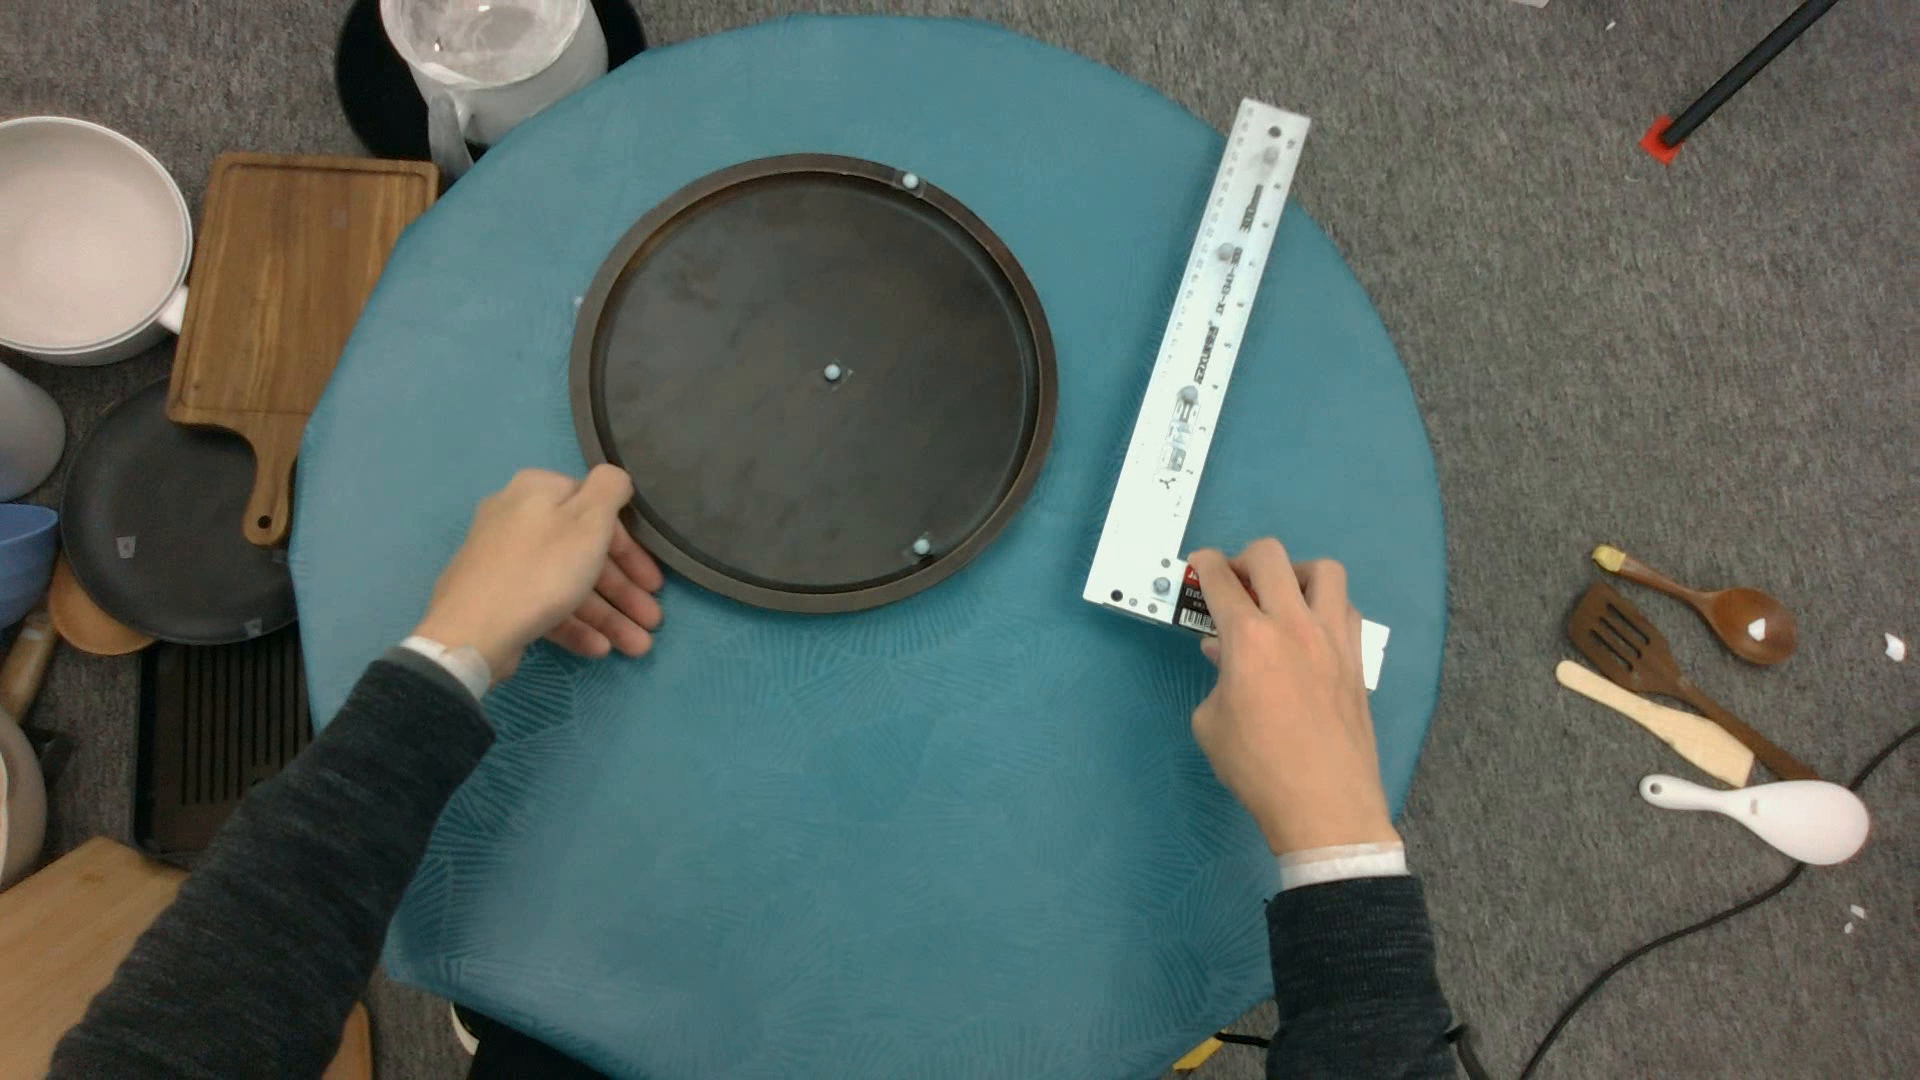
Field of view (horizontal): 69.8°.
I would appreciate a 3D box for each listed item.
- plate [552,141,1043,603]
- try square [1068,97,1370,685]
[{"bbox_3d":[-0.083,-0.090,0.722,0.255,0.029,0.255,2,75,-8],"label":"plate"},{"bbox_3d":[0.170,-0.090,0.738,0.152,0.016,0.314,18,72,1],"label":"try square"}]
